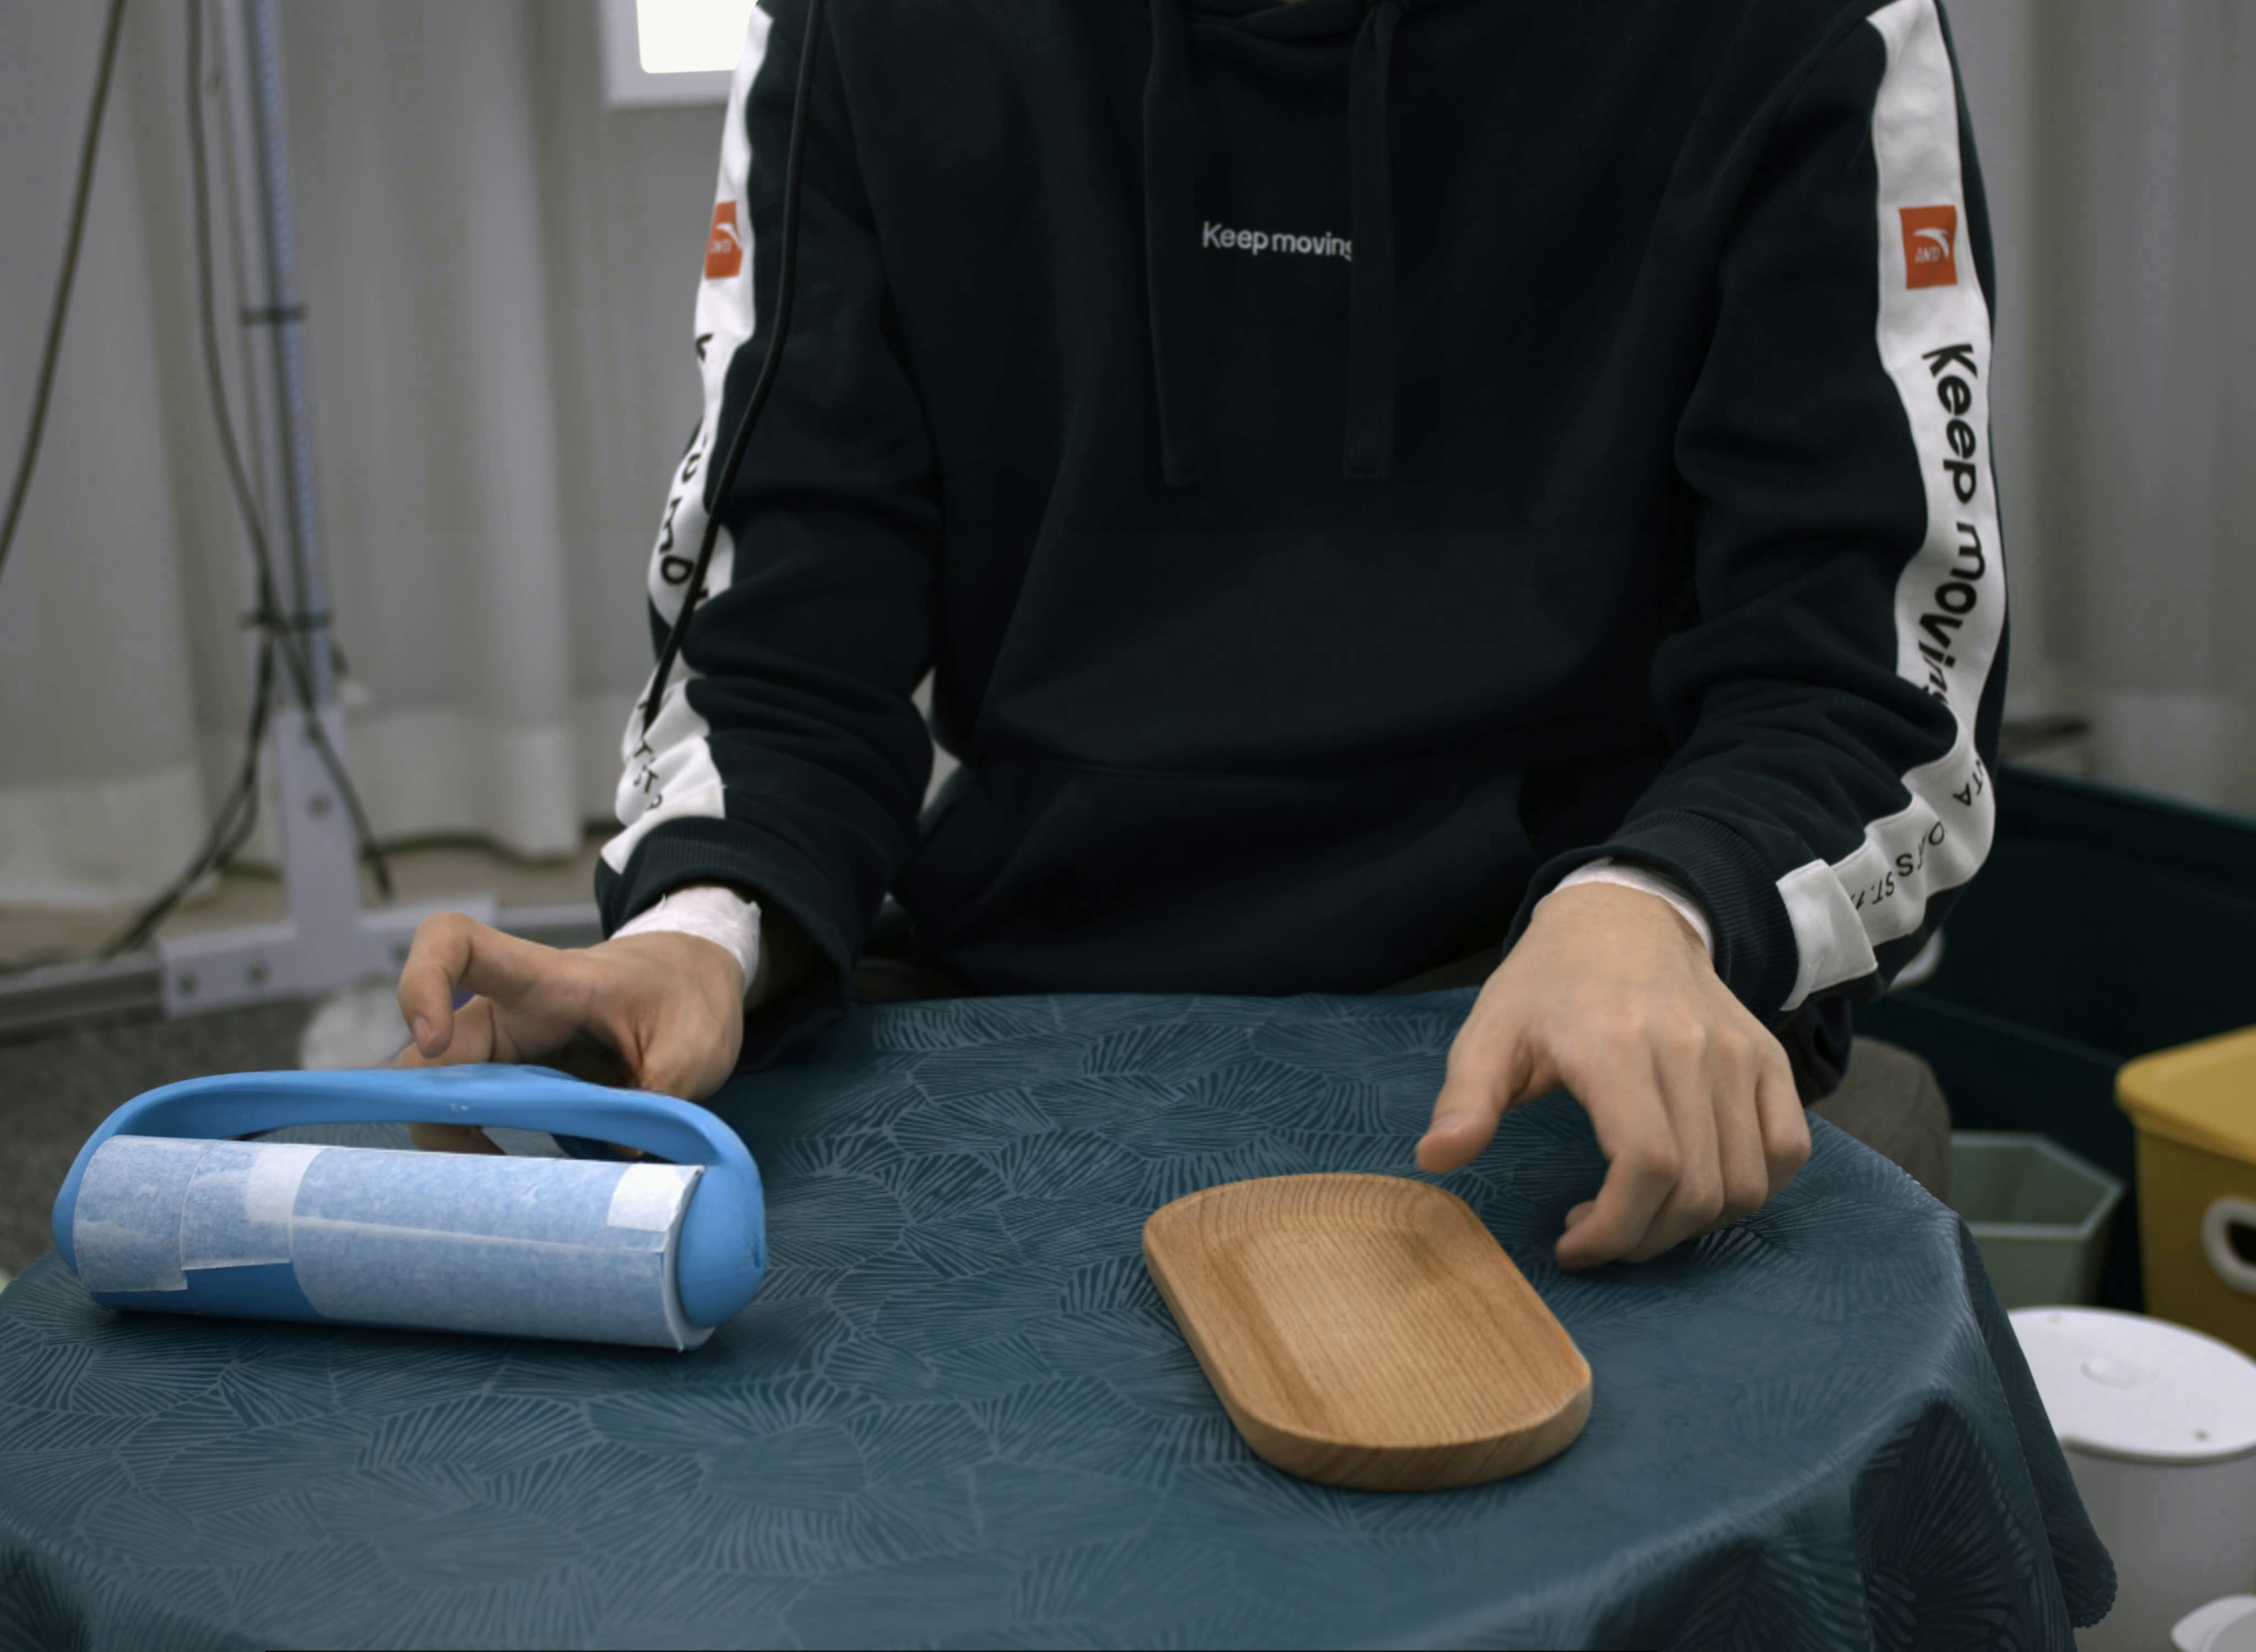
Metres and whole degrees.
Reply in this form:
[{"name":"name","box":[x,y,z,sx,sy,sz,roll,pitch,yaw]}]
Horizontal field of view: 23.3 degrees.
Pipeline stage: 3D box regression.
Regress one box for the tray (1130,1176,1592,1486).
[{"name":"tray","box":[0.064,0.142,1.568,0.101,0.020,0.233,-5,13,-10]}]

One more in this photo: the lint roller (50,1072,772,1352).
[{"name":"lint roller","box":[-0.198,0.106,1.675,0.229,0.067,0.181,-1,16,17]}]
